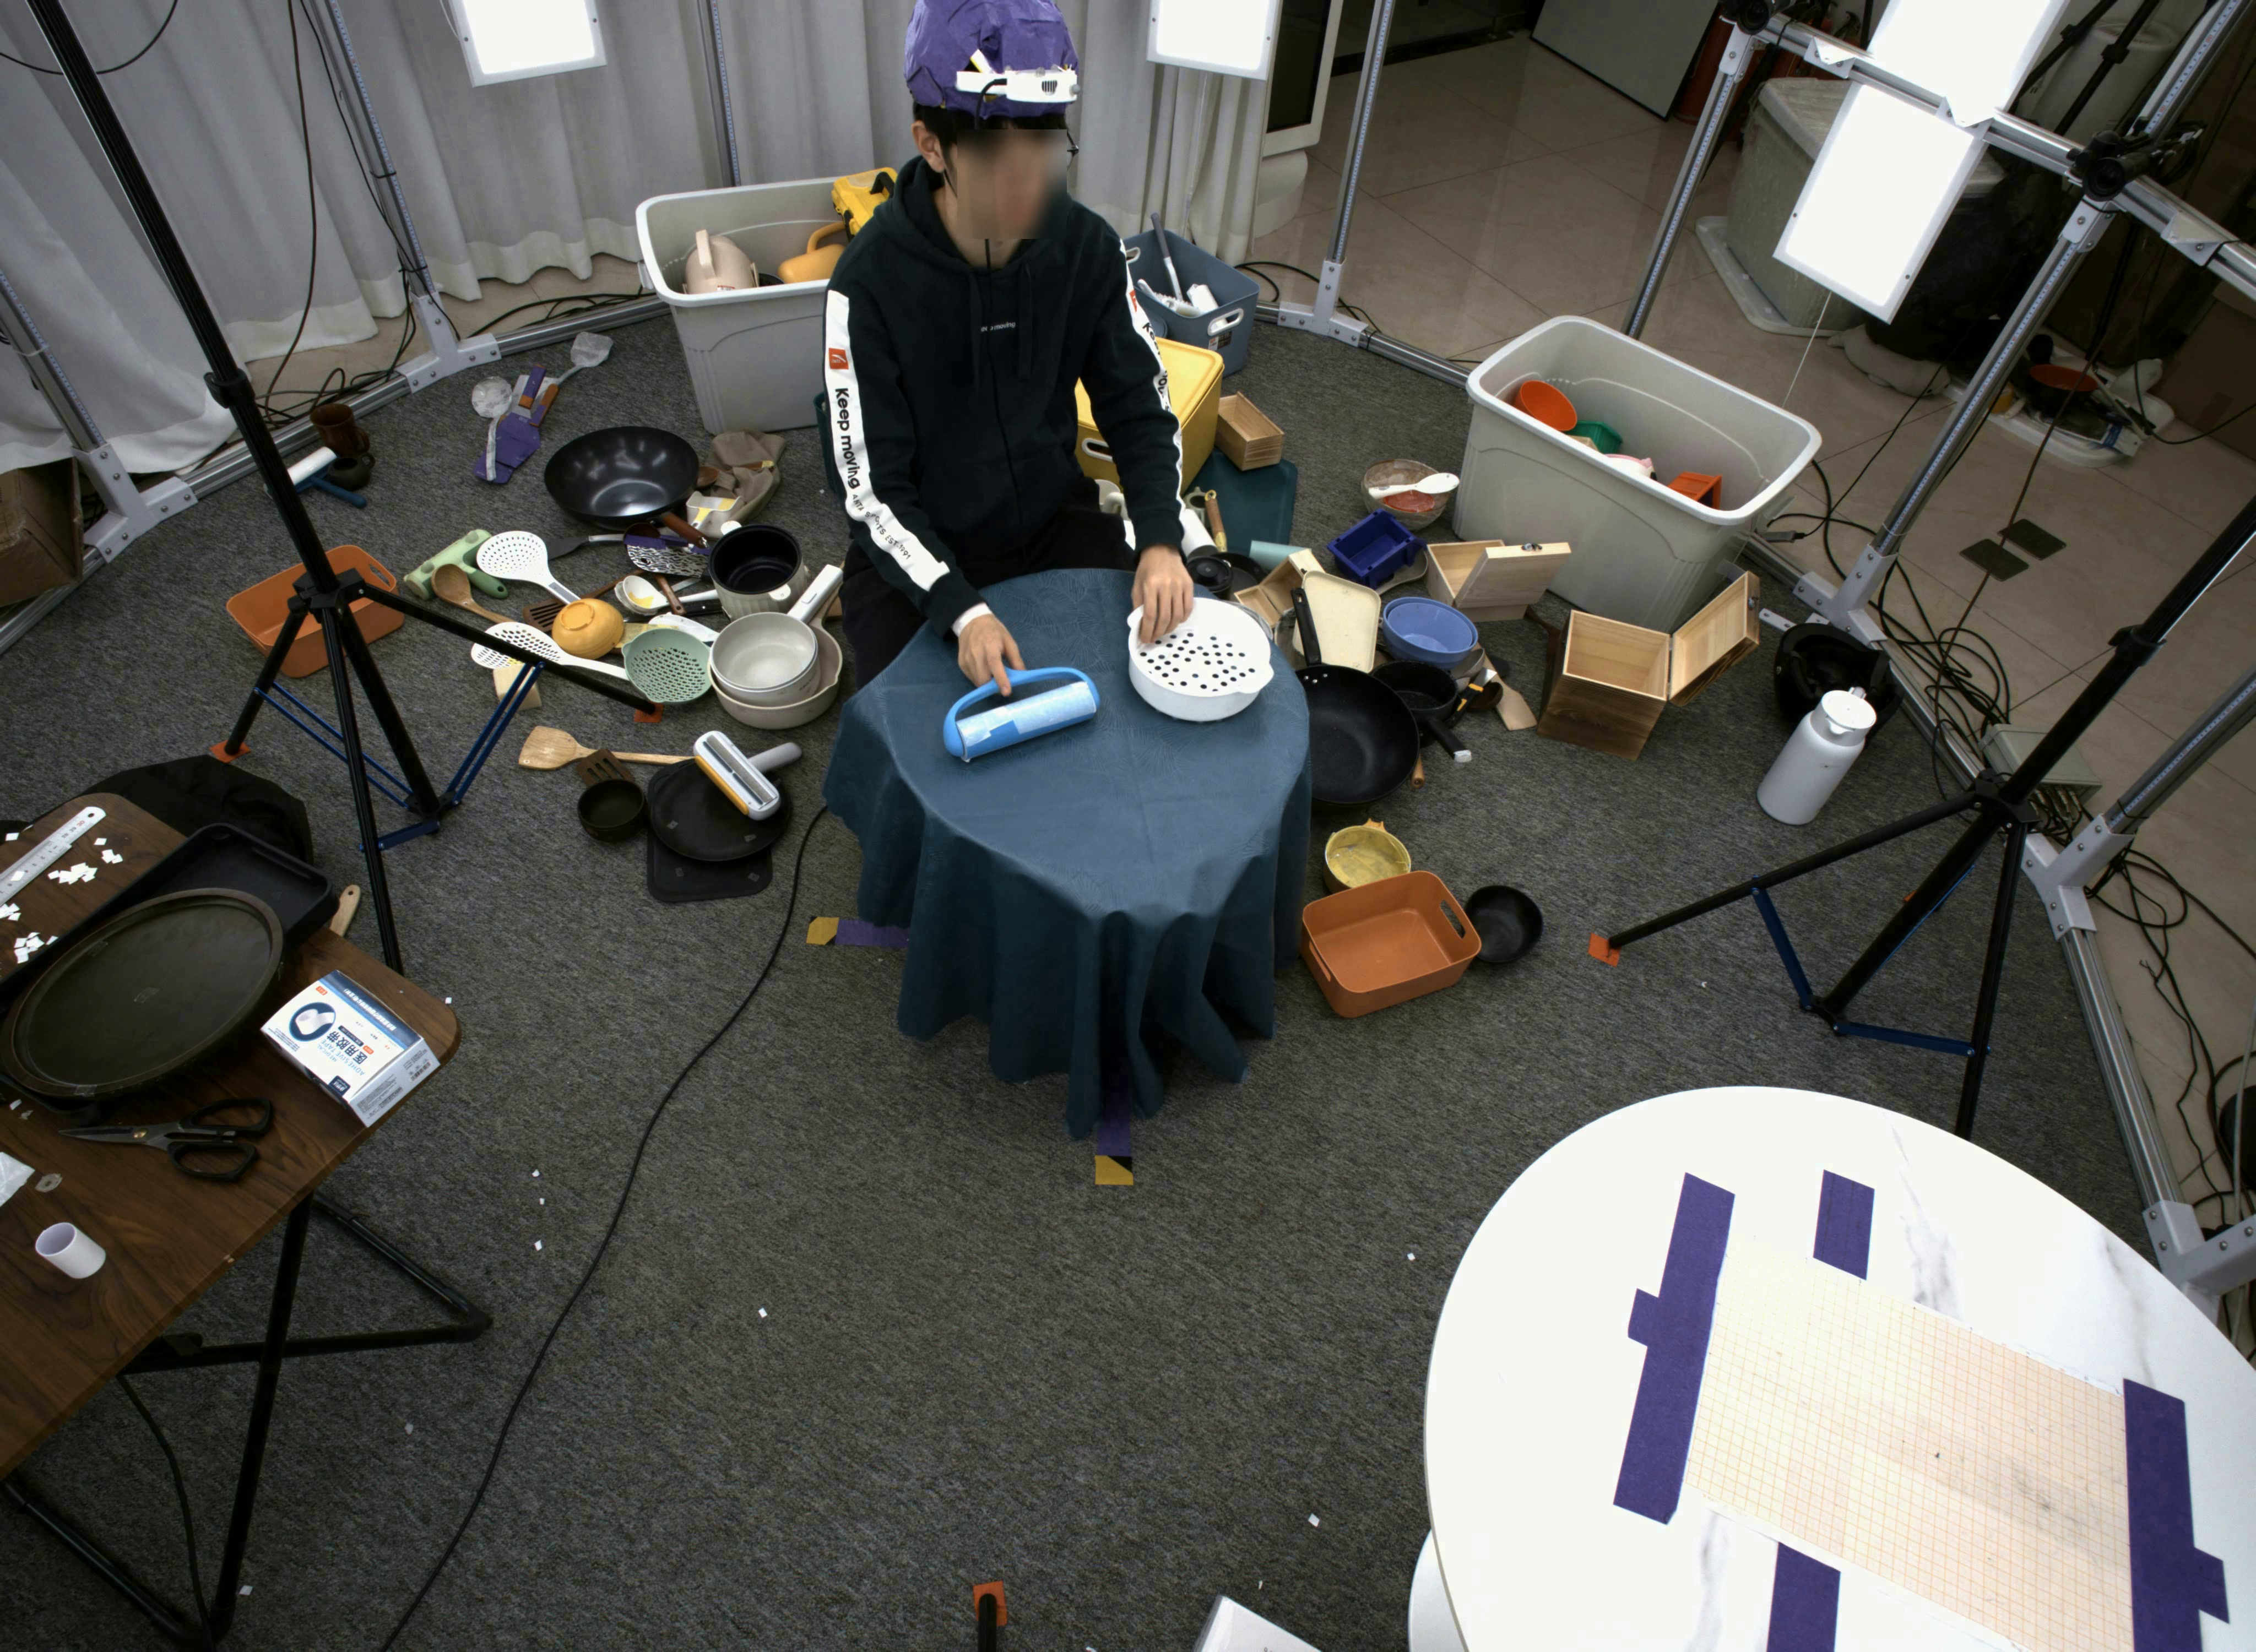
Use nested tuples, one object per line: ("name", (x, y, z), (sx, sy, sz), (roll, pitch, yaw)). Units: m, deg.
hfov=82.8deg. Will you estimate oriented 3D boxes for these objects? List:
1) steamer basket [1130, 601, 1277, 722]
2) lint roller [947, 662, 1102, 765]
("steamer basket", (0.103, -0.234, 1.834), (0.233, 0.067, 0.204), (32, 54, 24))
("lint roller", (-0.169, -0.183, 1.779), (0.230, 0.066, 0.184), (-25, 56, -21))
